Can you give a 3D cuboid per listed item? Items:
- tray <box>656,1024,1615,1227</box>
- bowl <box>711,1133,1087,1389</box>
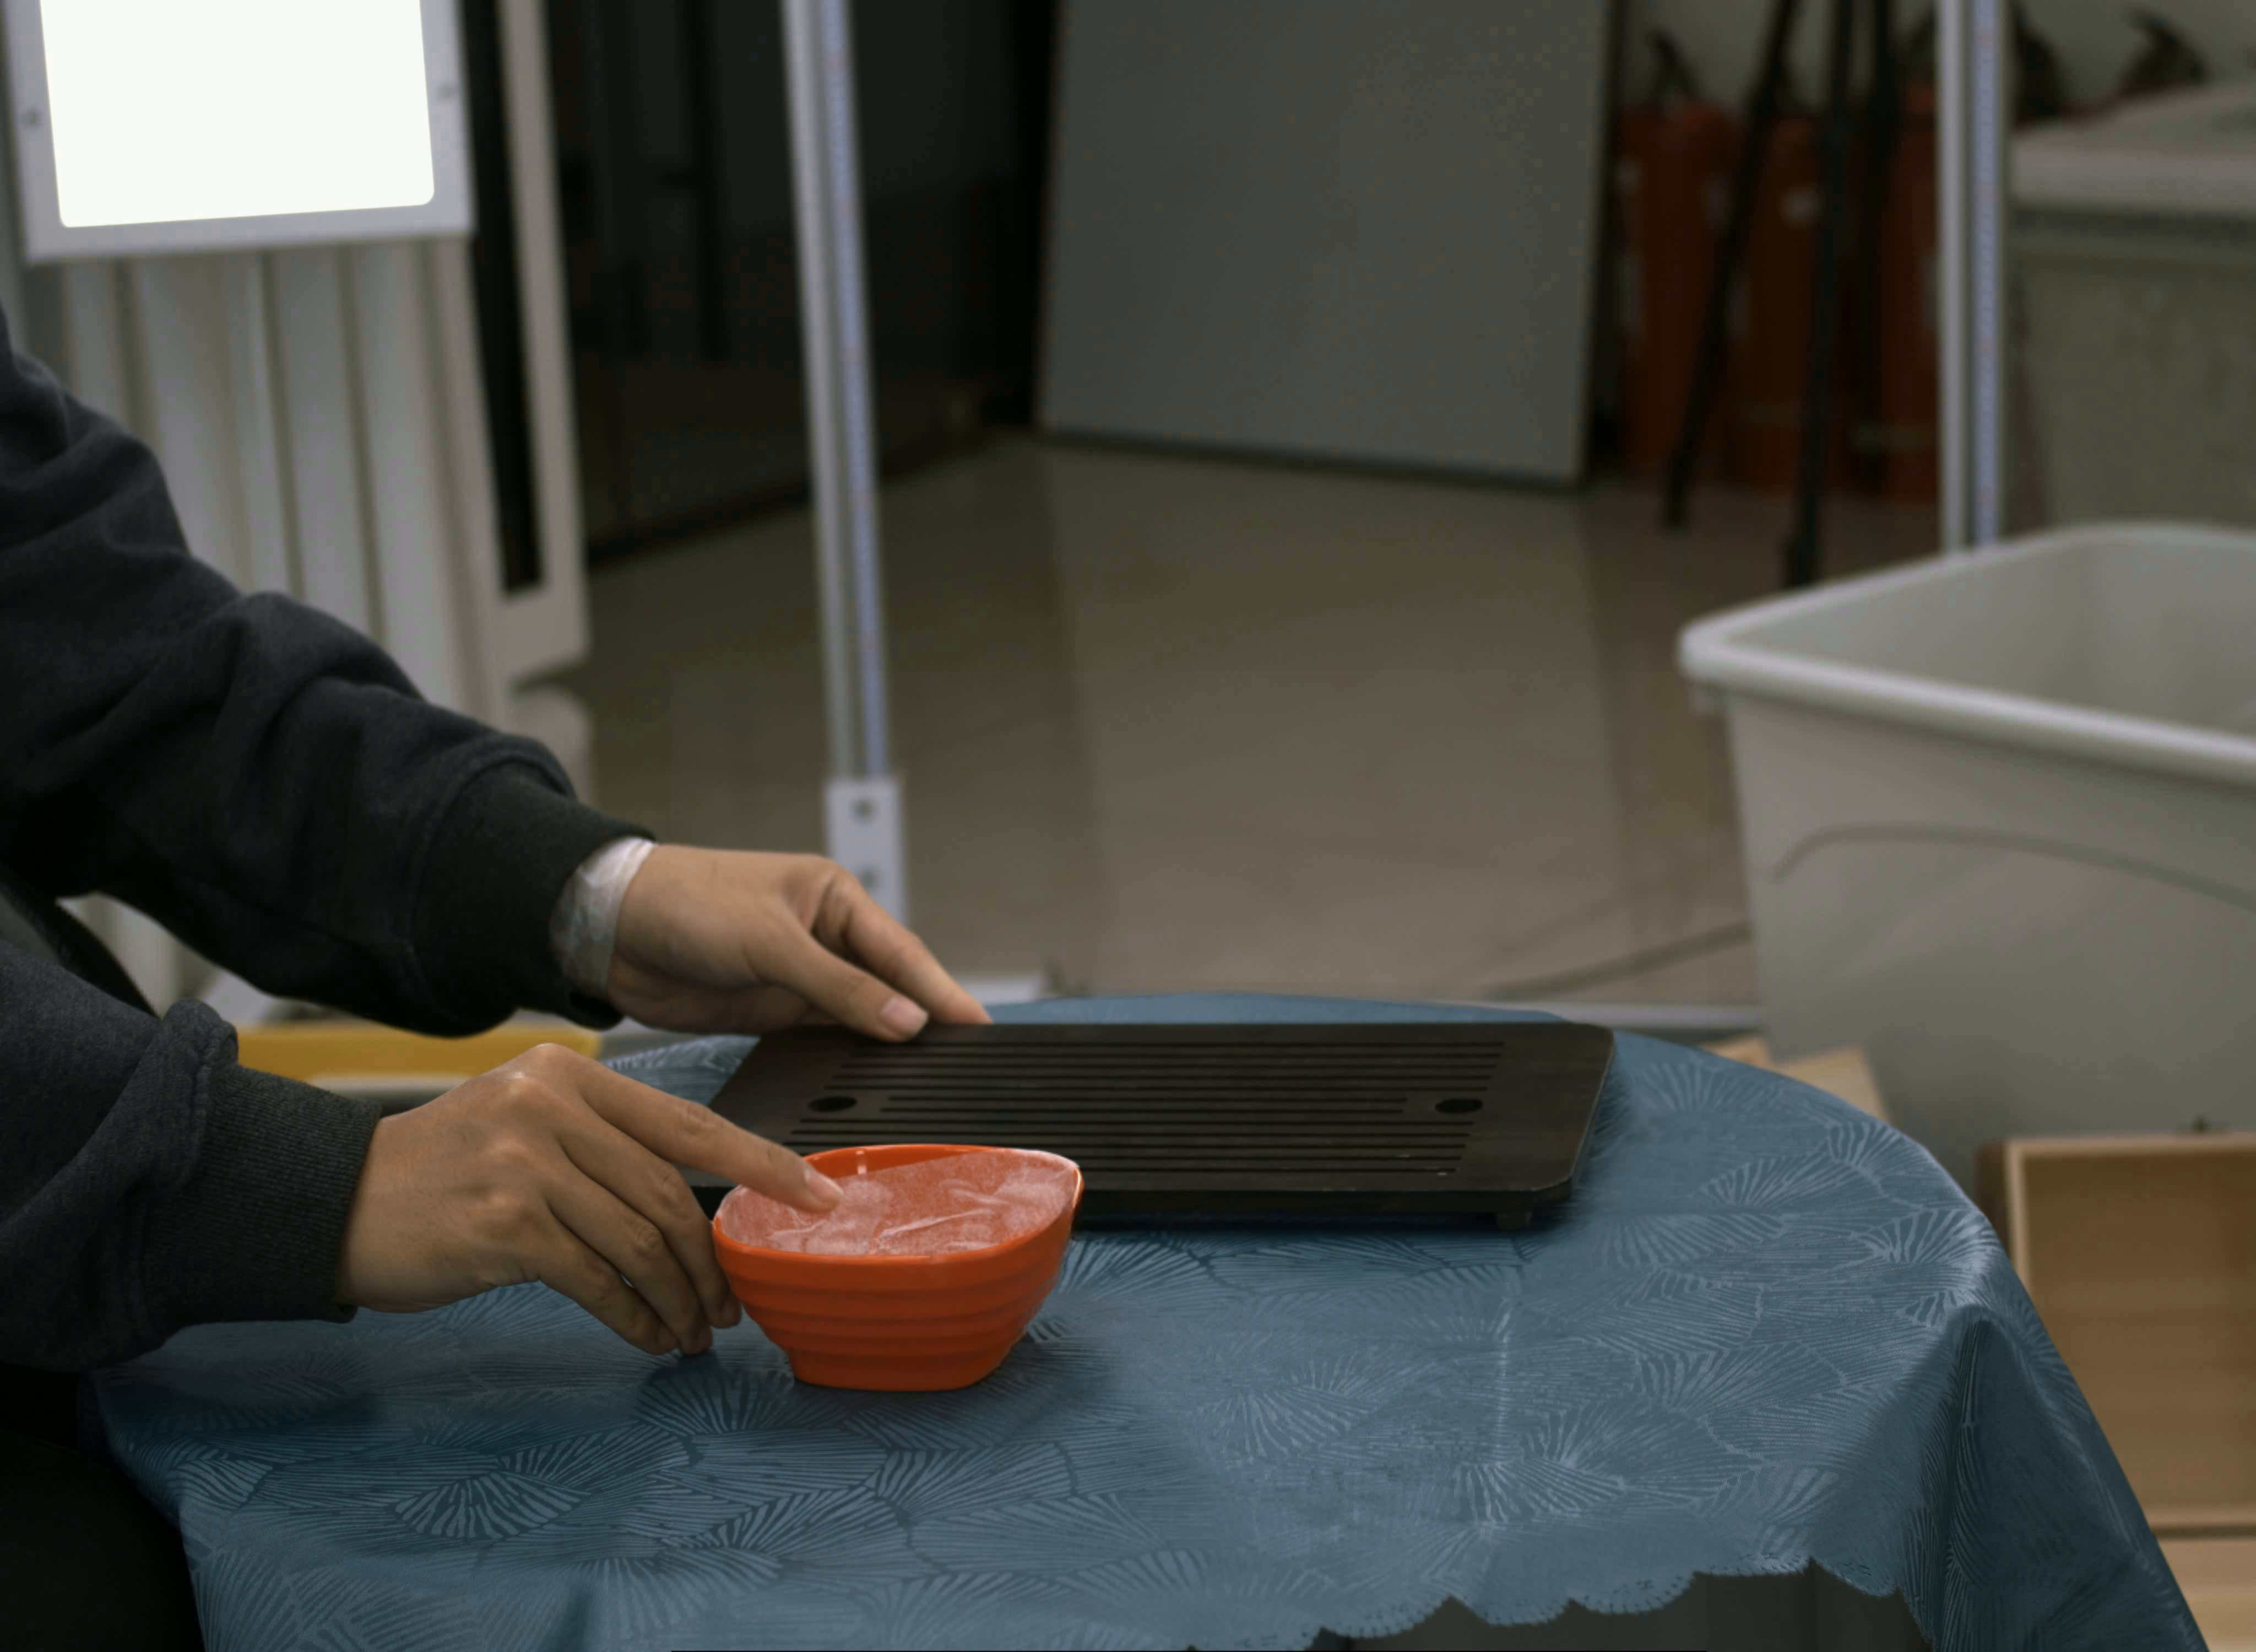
[{"bbox_3d":[0.006,0.101,1.805,0.304,0.019,0.169,-1,16,13],"label":"tray"},{"bbox_3d":[-0.067,0.133,1.622,0.117,0.052,0.119,-2,15,0],"label":"bowl"}]
